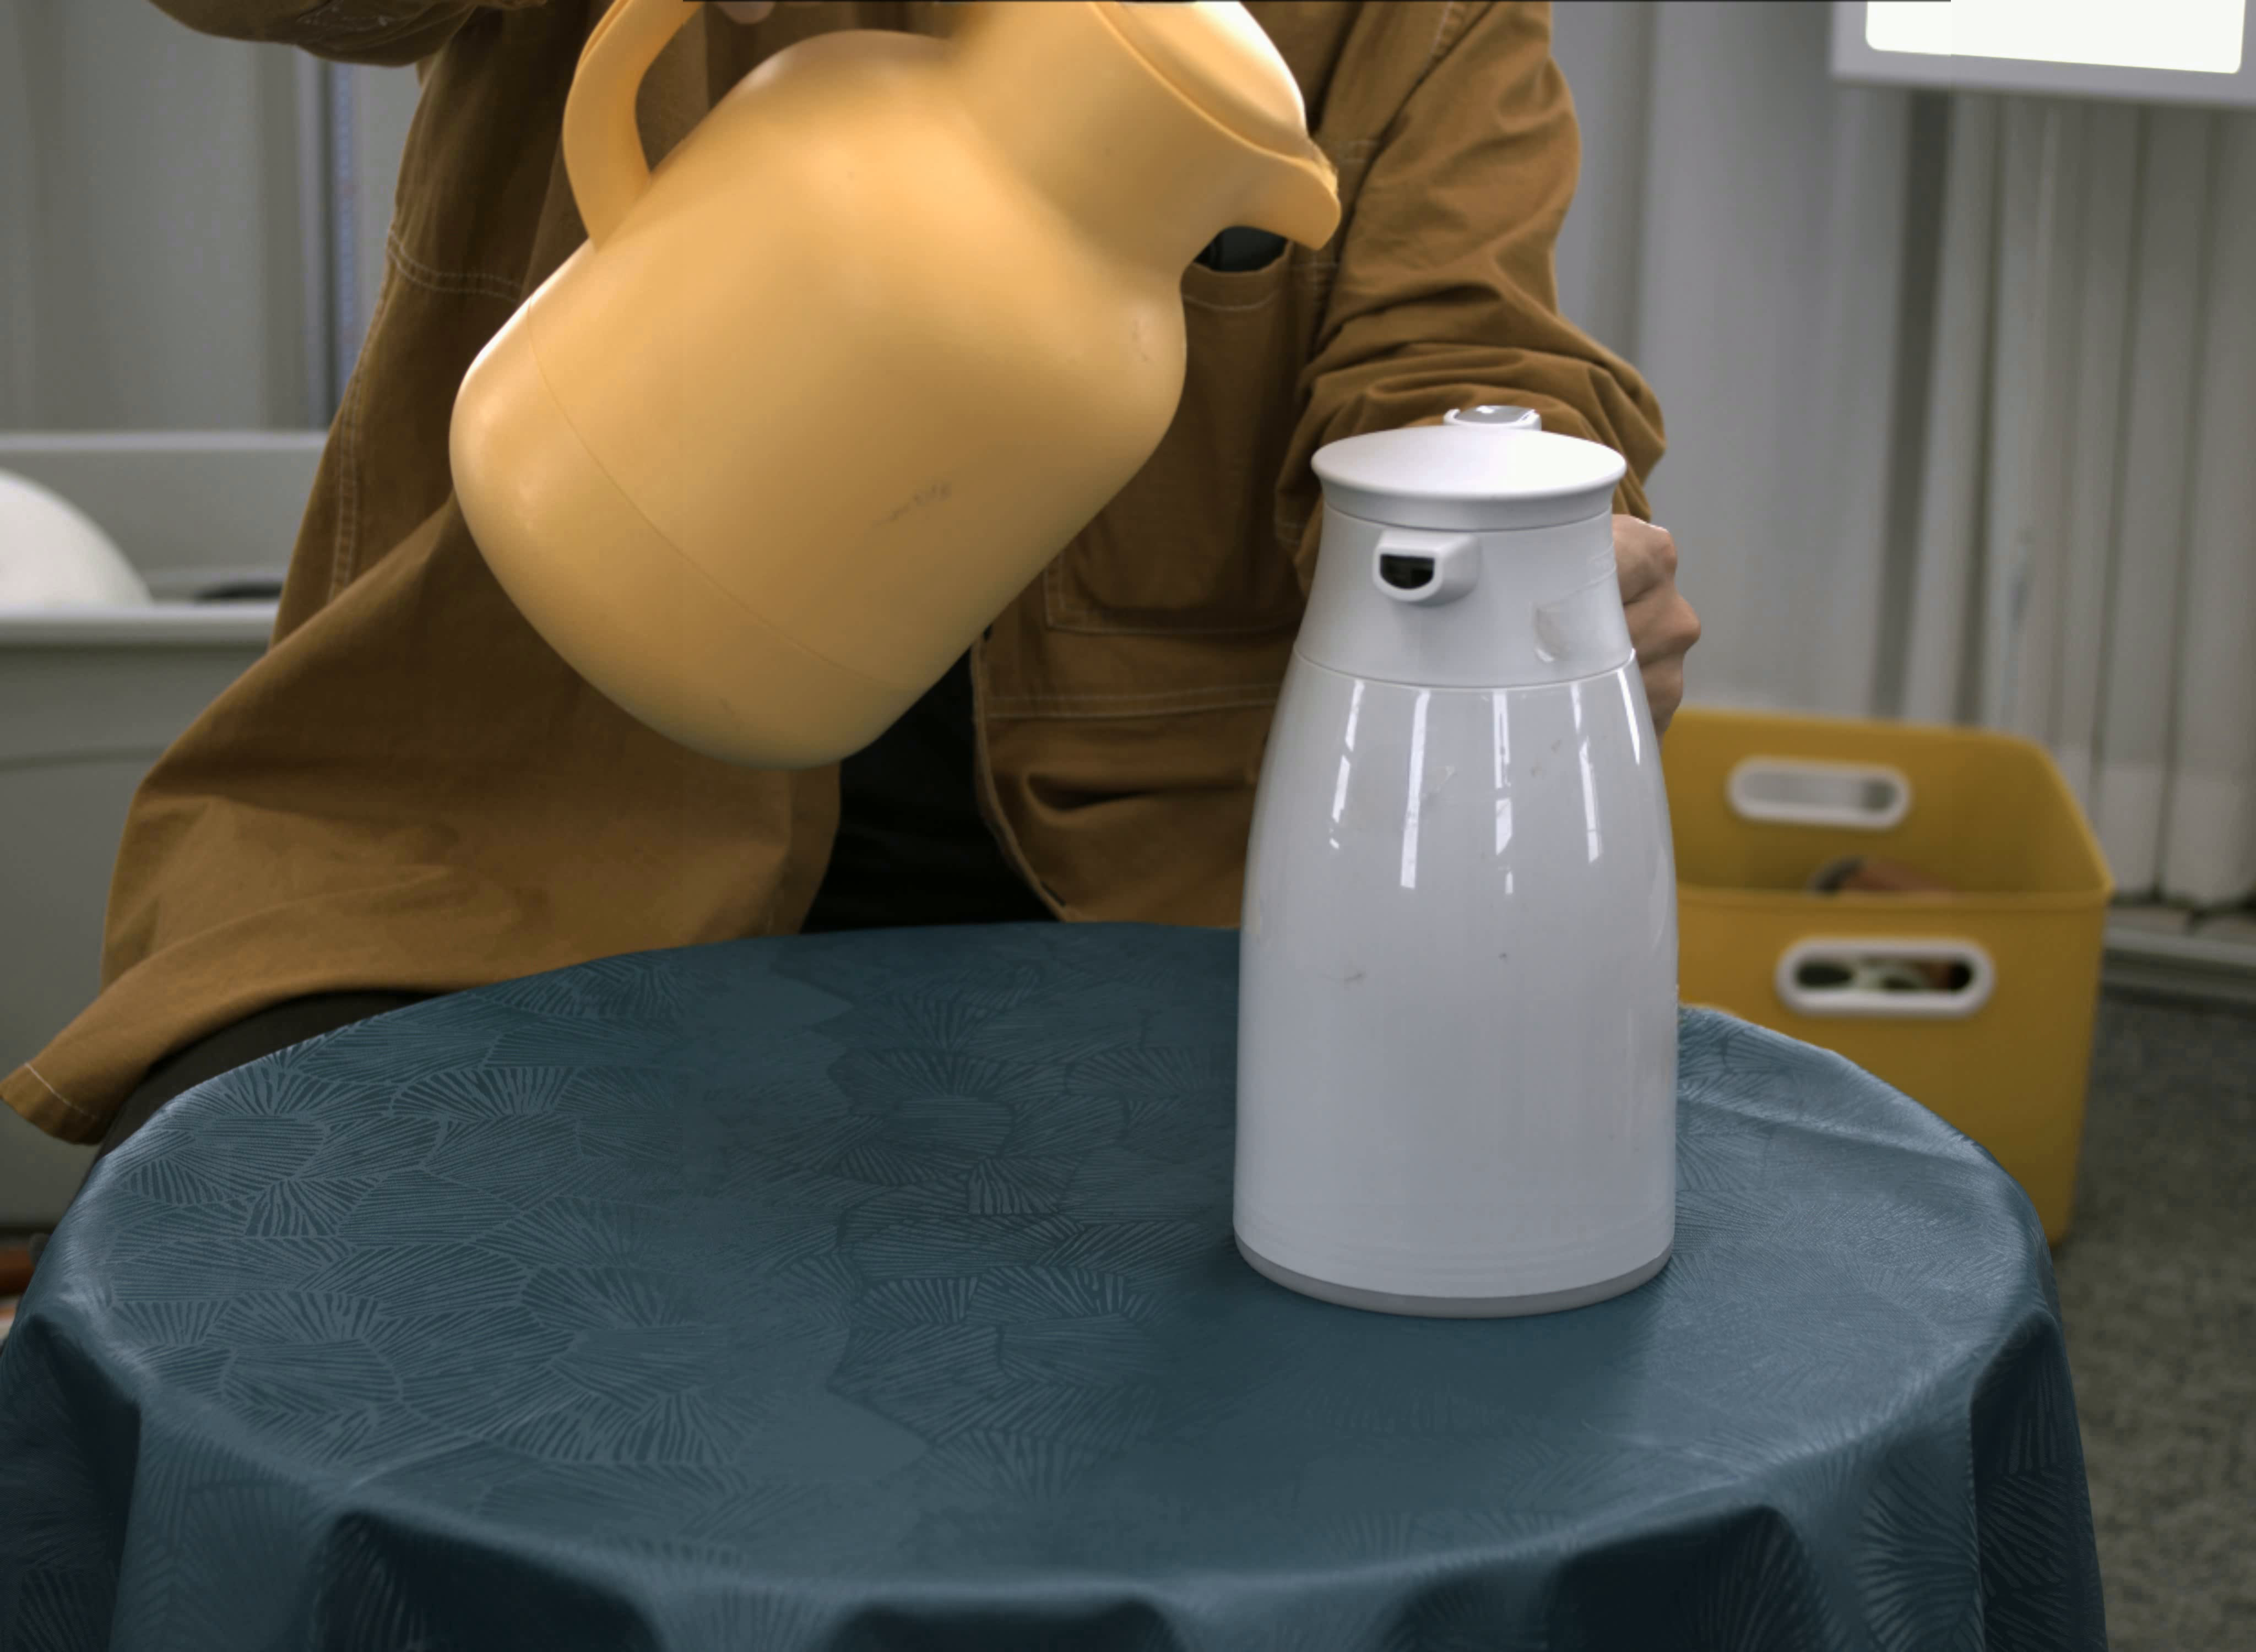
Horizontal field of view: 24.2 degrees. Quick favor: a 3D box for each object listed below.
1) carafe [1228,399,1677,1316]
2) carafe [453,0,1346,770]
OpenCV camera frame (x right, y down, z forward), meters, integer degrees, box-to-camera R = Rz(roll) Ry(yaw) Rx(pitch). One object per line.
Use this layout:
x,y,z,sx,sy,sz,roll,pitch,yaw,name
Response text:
0.102,0.000,1.564,0.131,0.250,0.168,5,16,17,carafe
-0.078,-0.161,1.507,0.204,0.260,0.162,40,19,-16,carafe
